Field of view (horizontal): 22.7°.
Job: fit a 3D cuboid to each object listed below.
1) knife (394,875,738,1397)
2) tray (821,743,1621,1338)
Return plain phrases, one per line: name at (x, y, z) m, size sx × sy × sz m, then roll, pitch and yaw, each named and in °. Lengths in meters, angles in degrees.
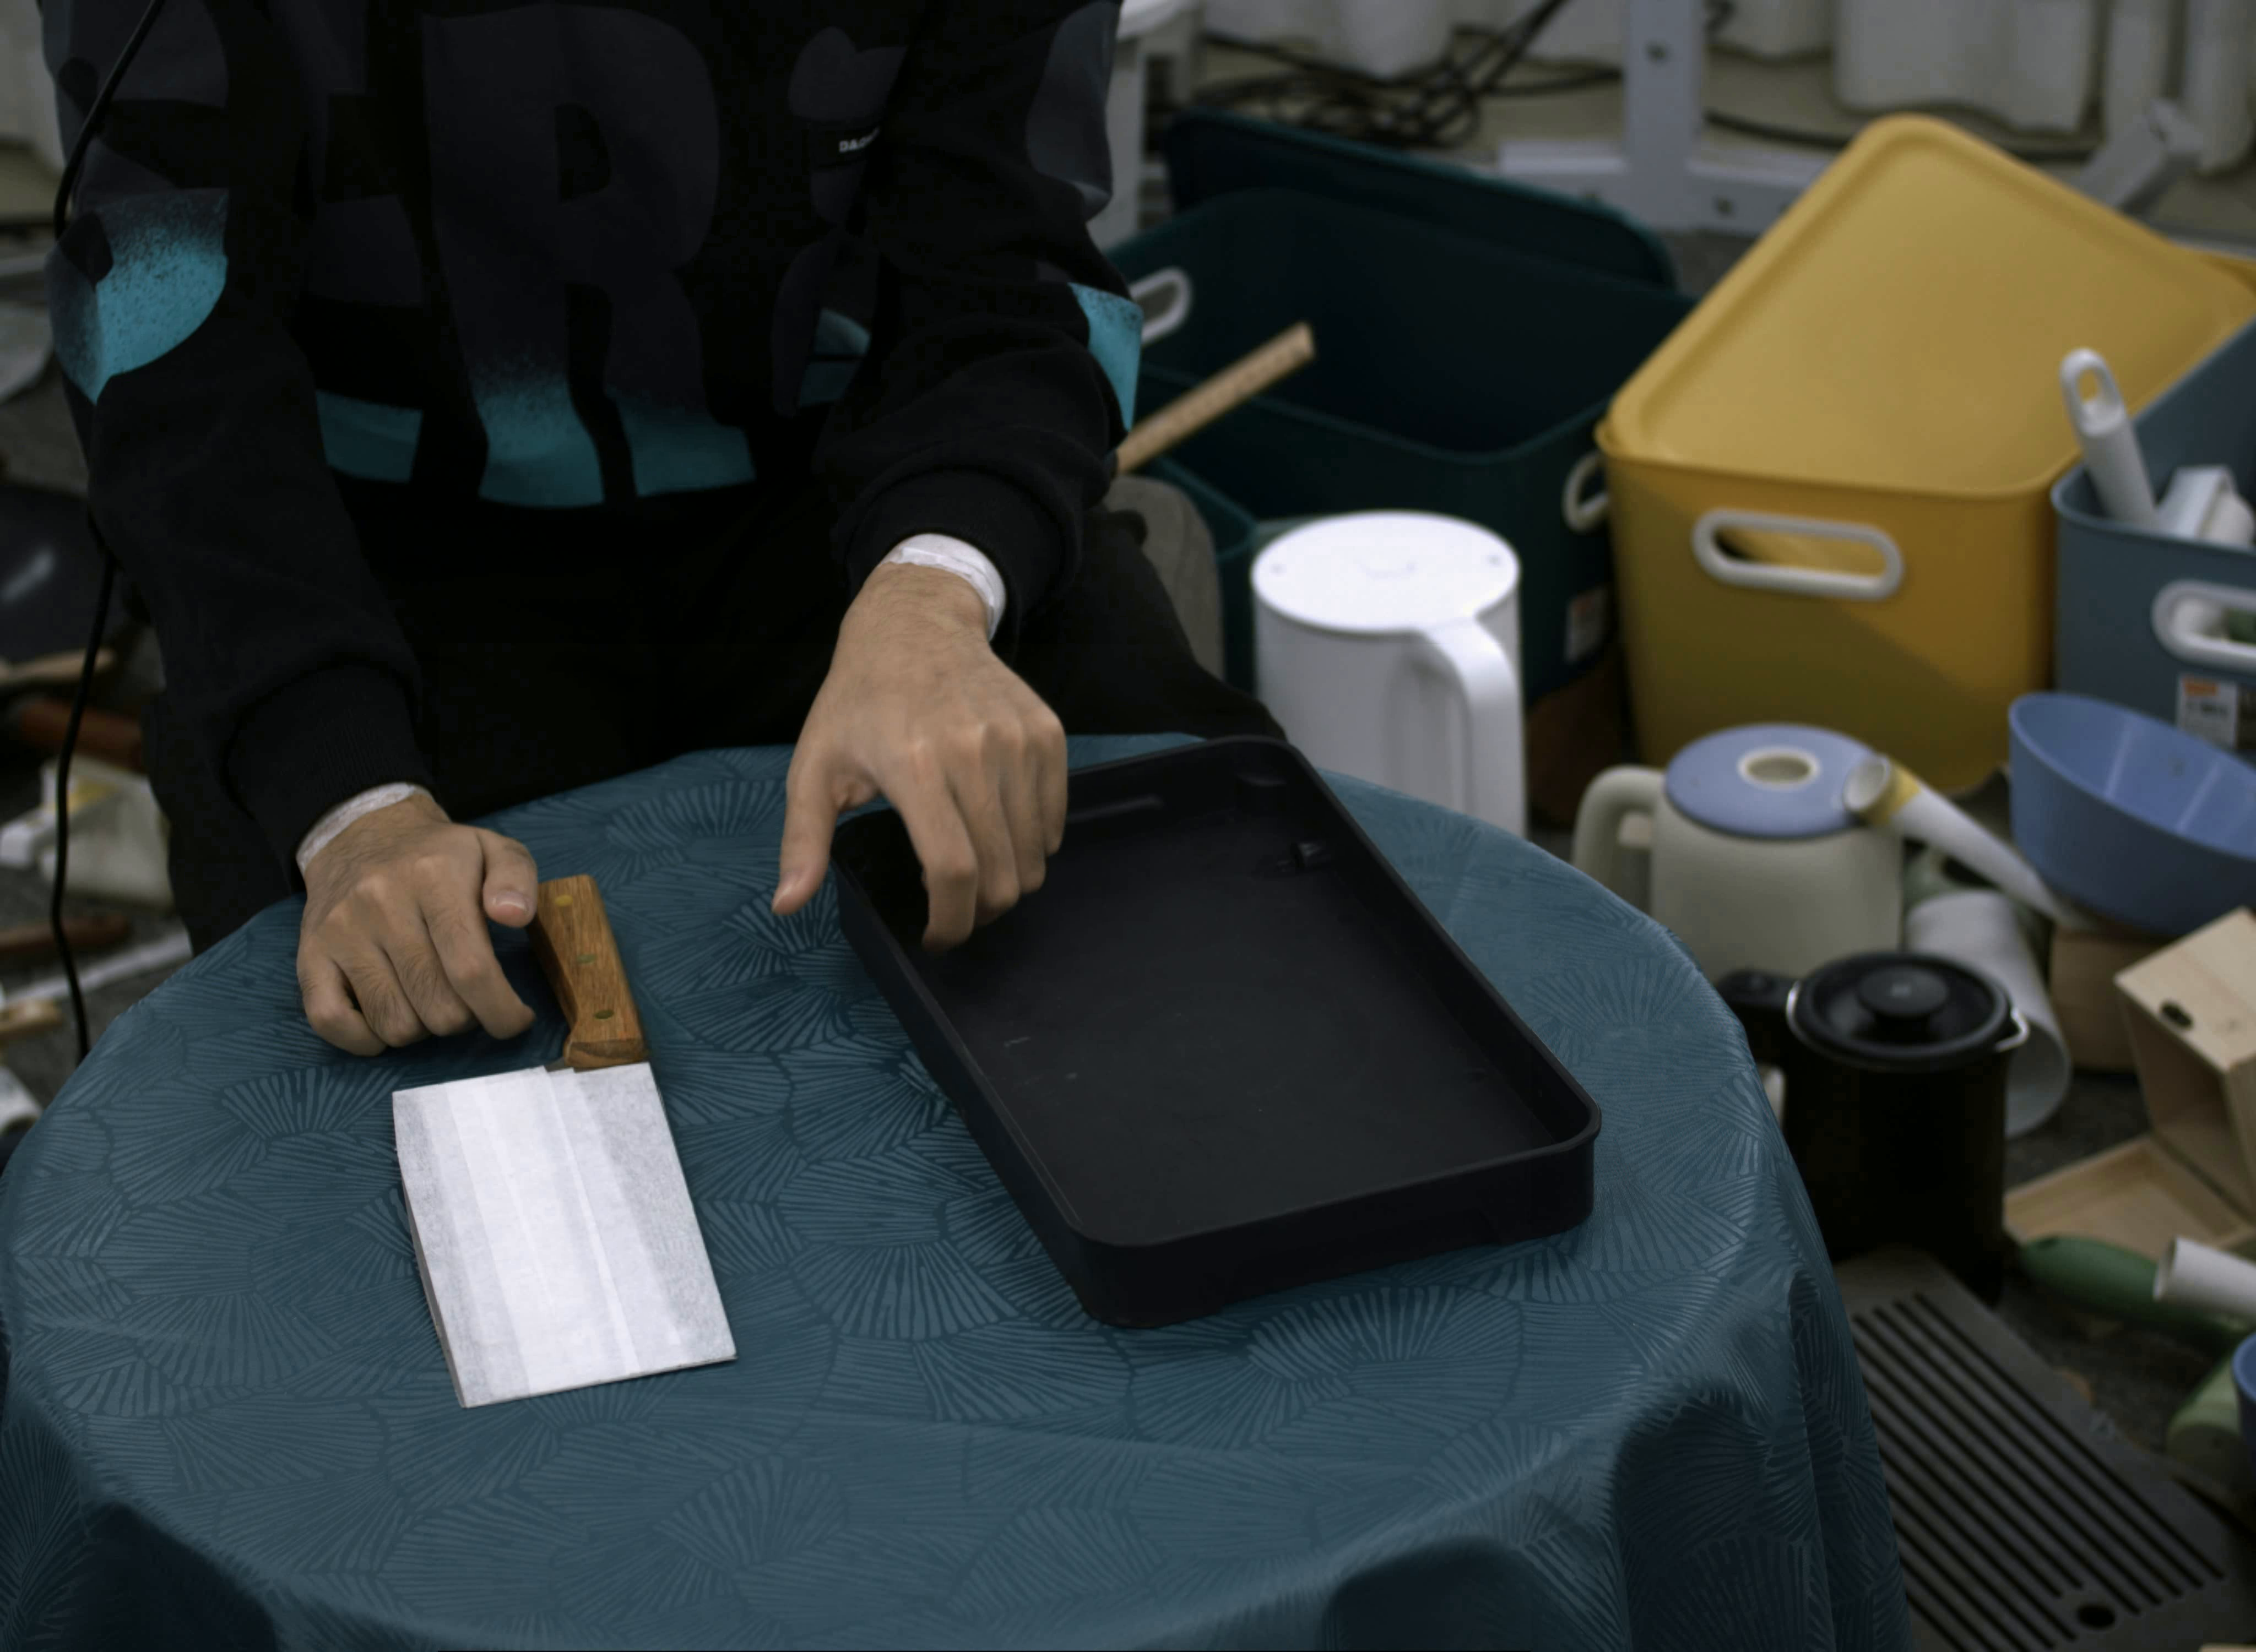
knife at (-0.200, 0.103, 1.902) m, size 0.093 × 0.021 × 0.309 m, roll -10°, pitch 30°, yaw -10°
tray at (0.026, 0.067, 1.926) m, size 0.185 × 0.036 × 0.320 m, roll -13°, pitch 29°, yaw -17°
